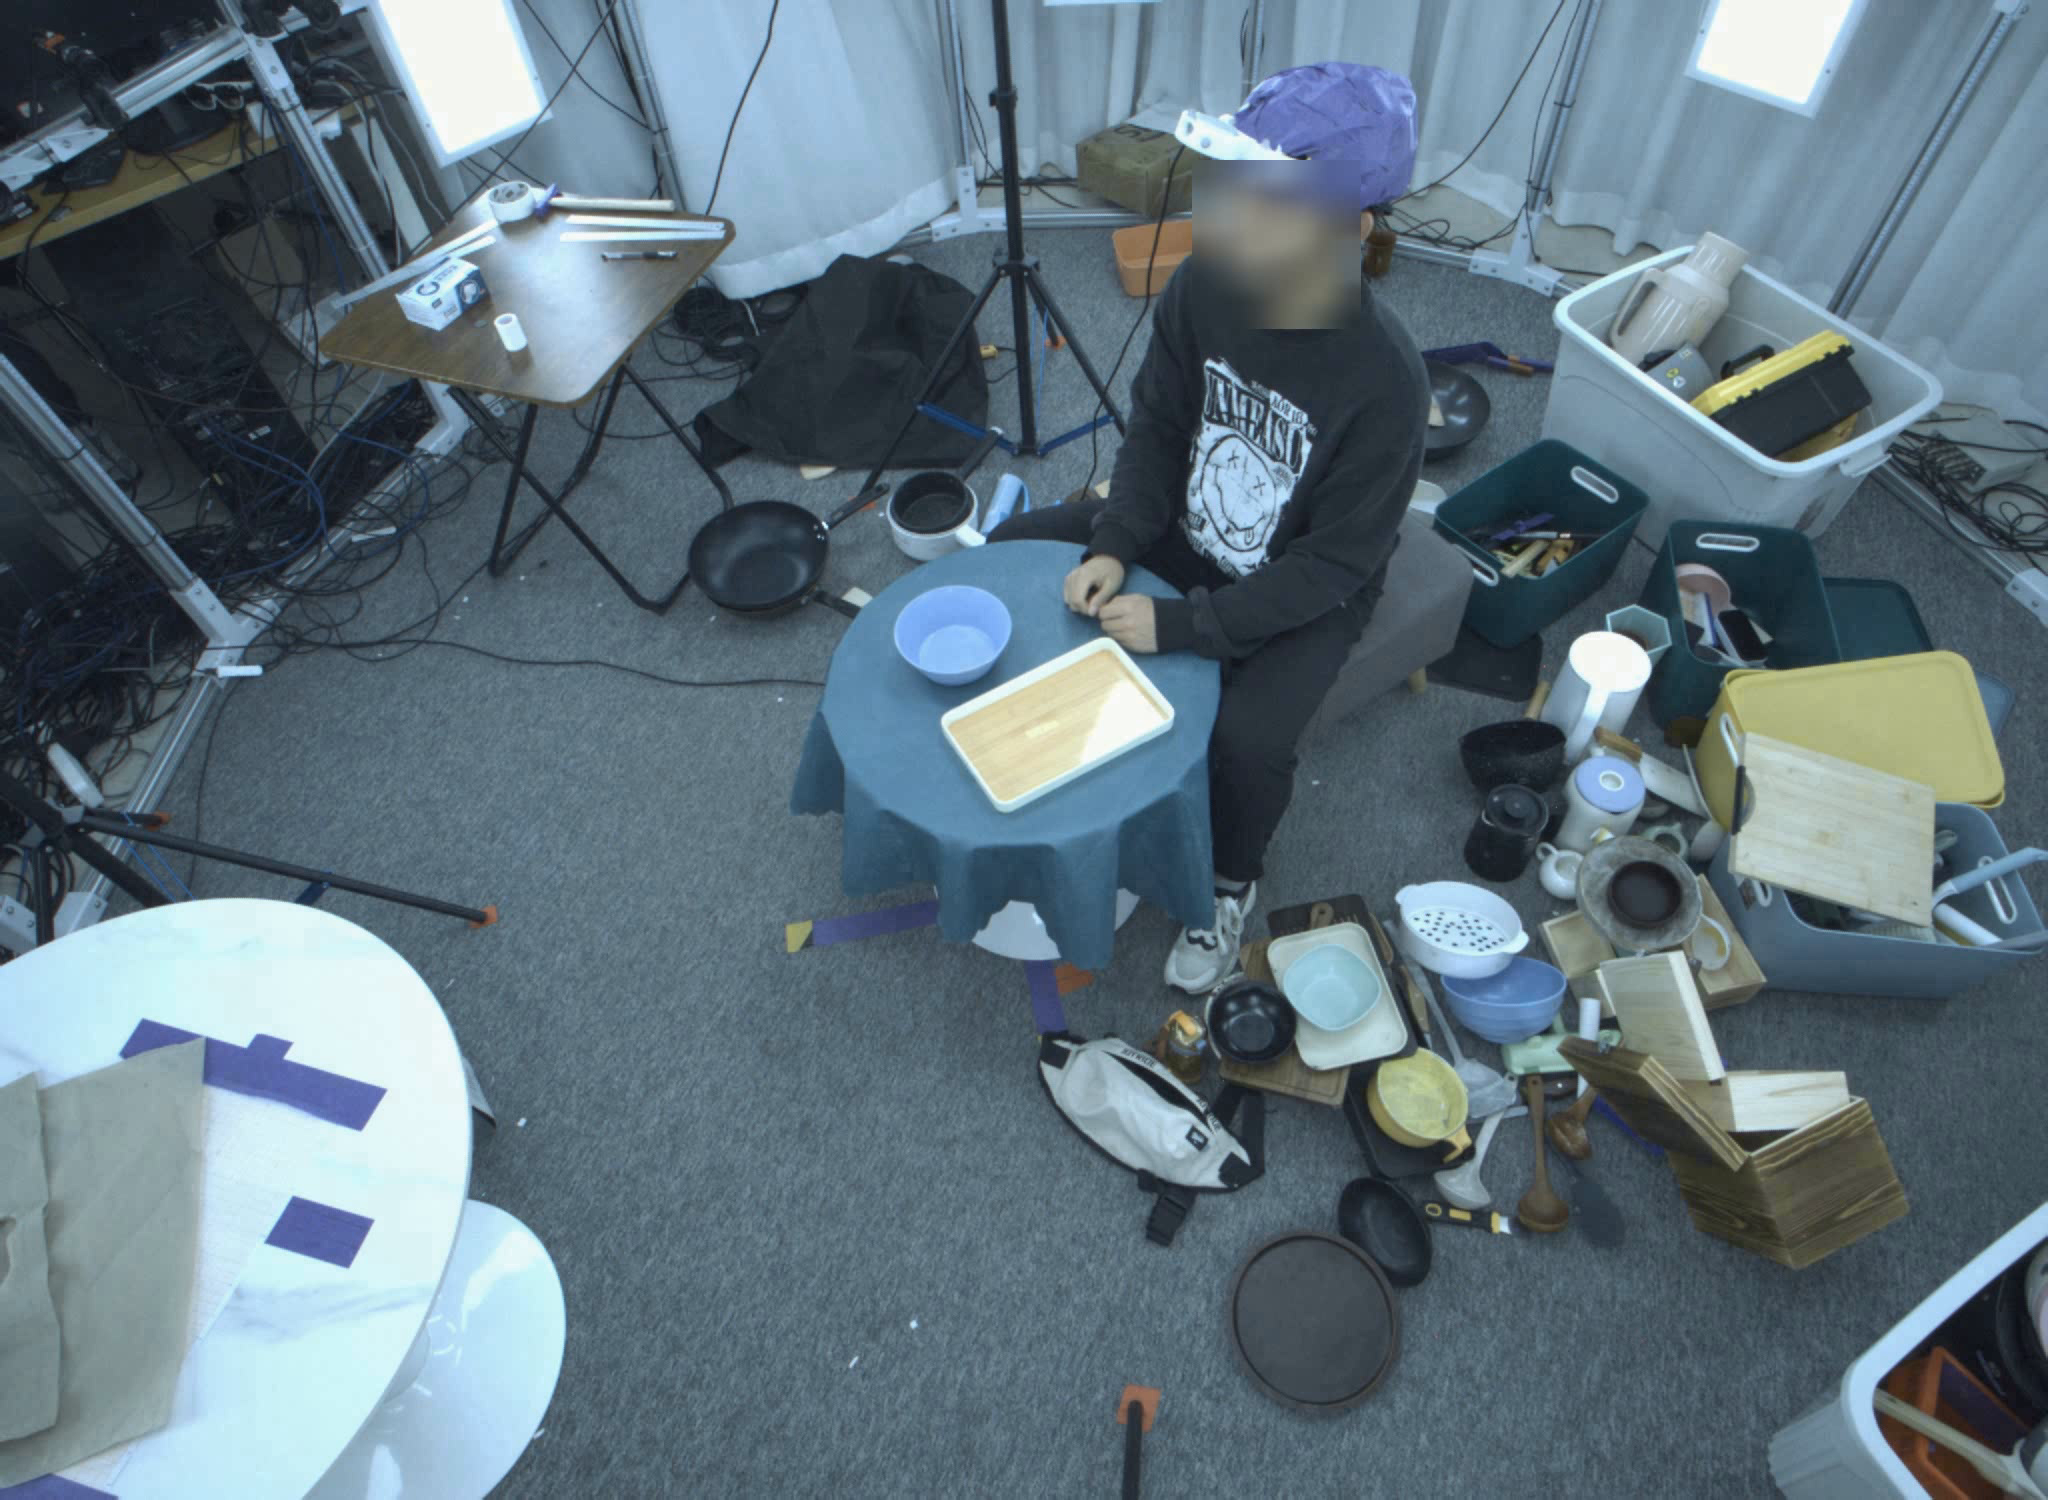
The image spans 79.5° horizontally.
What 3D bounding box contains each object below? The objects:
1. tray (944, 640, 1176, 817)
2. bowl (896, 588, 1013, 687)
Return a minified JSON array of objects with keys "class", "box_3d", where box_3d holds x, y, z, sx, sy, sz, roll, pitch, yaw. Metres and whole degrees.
[{"class":"tray","box_3d":[0.052,-0.036,1.806,0.302,0.028,0.188,-27,58,-16]},{"class":"bowl","box_3d":[-0.104,-0.161,1.870,0.176,0.071,0.174,0,56,1]}]
